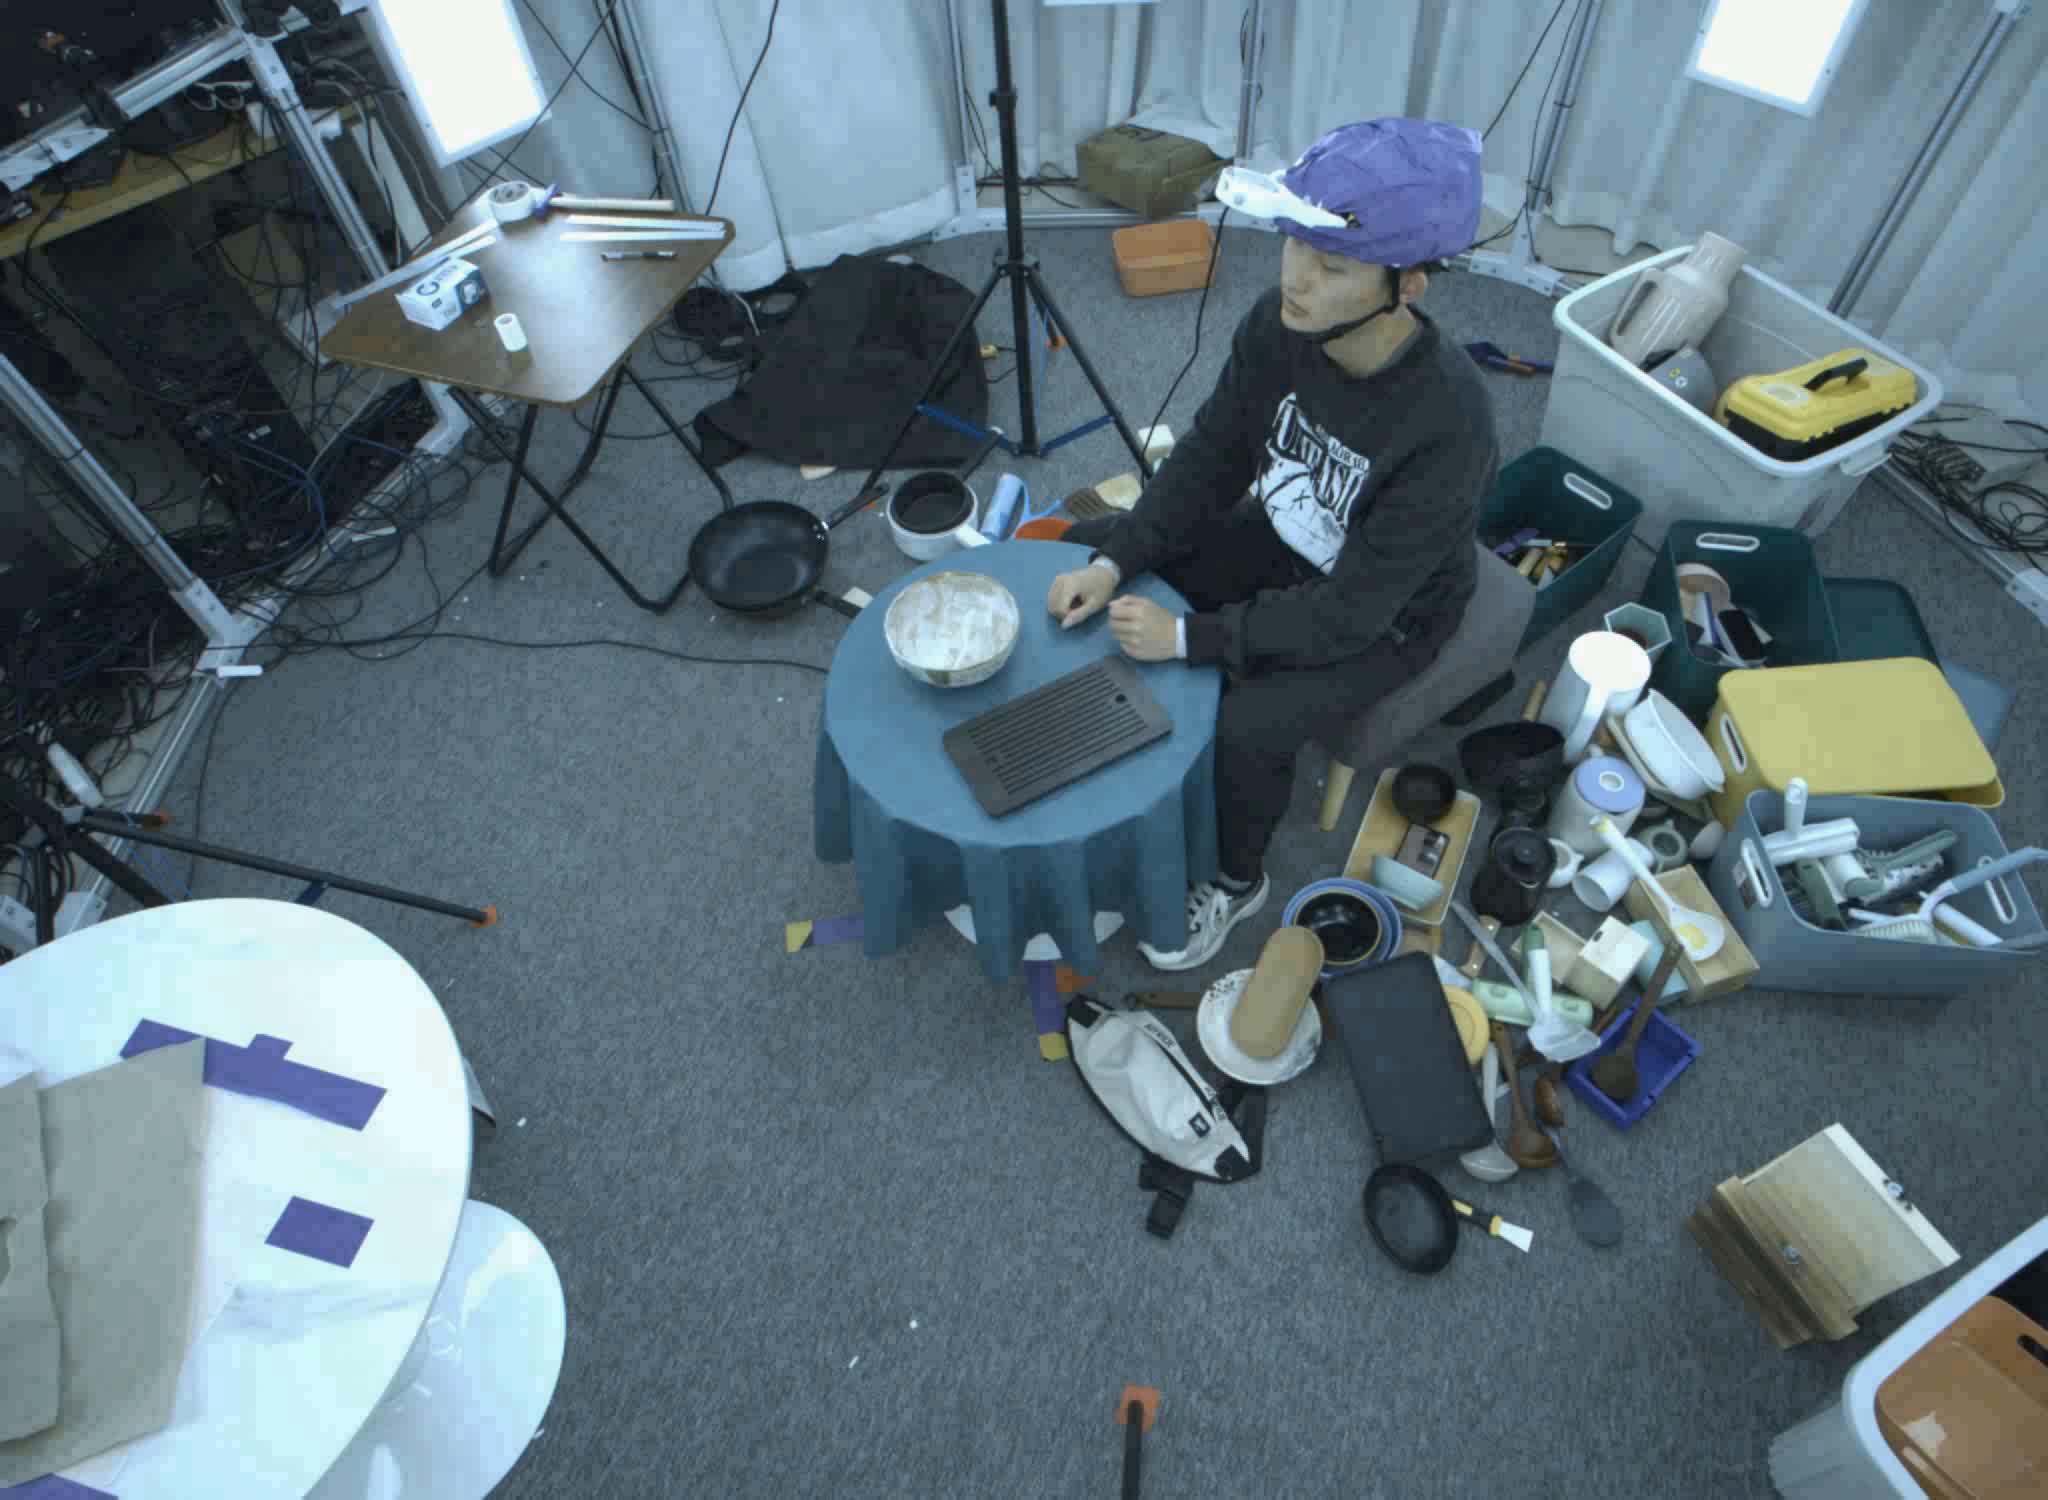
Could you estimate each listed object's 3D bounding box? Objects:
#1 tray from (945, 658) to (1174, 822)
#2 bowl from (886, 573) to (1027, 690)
[{"bbox_3d":[0.052,-0.018,1.798,0.308,0.019,0.167,-26,58,-16],"label":"tray"},{"bbox_3d":[-0.098,-0.163,1.858,0.214,0.095,0.212,-1,54,2],"label":"bowl"}]
